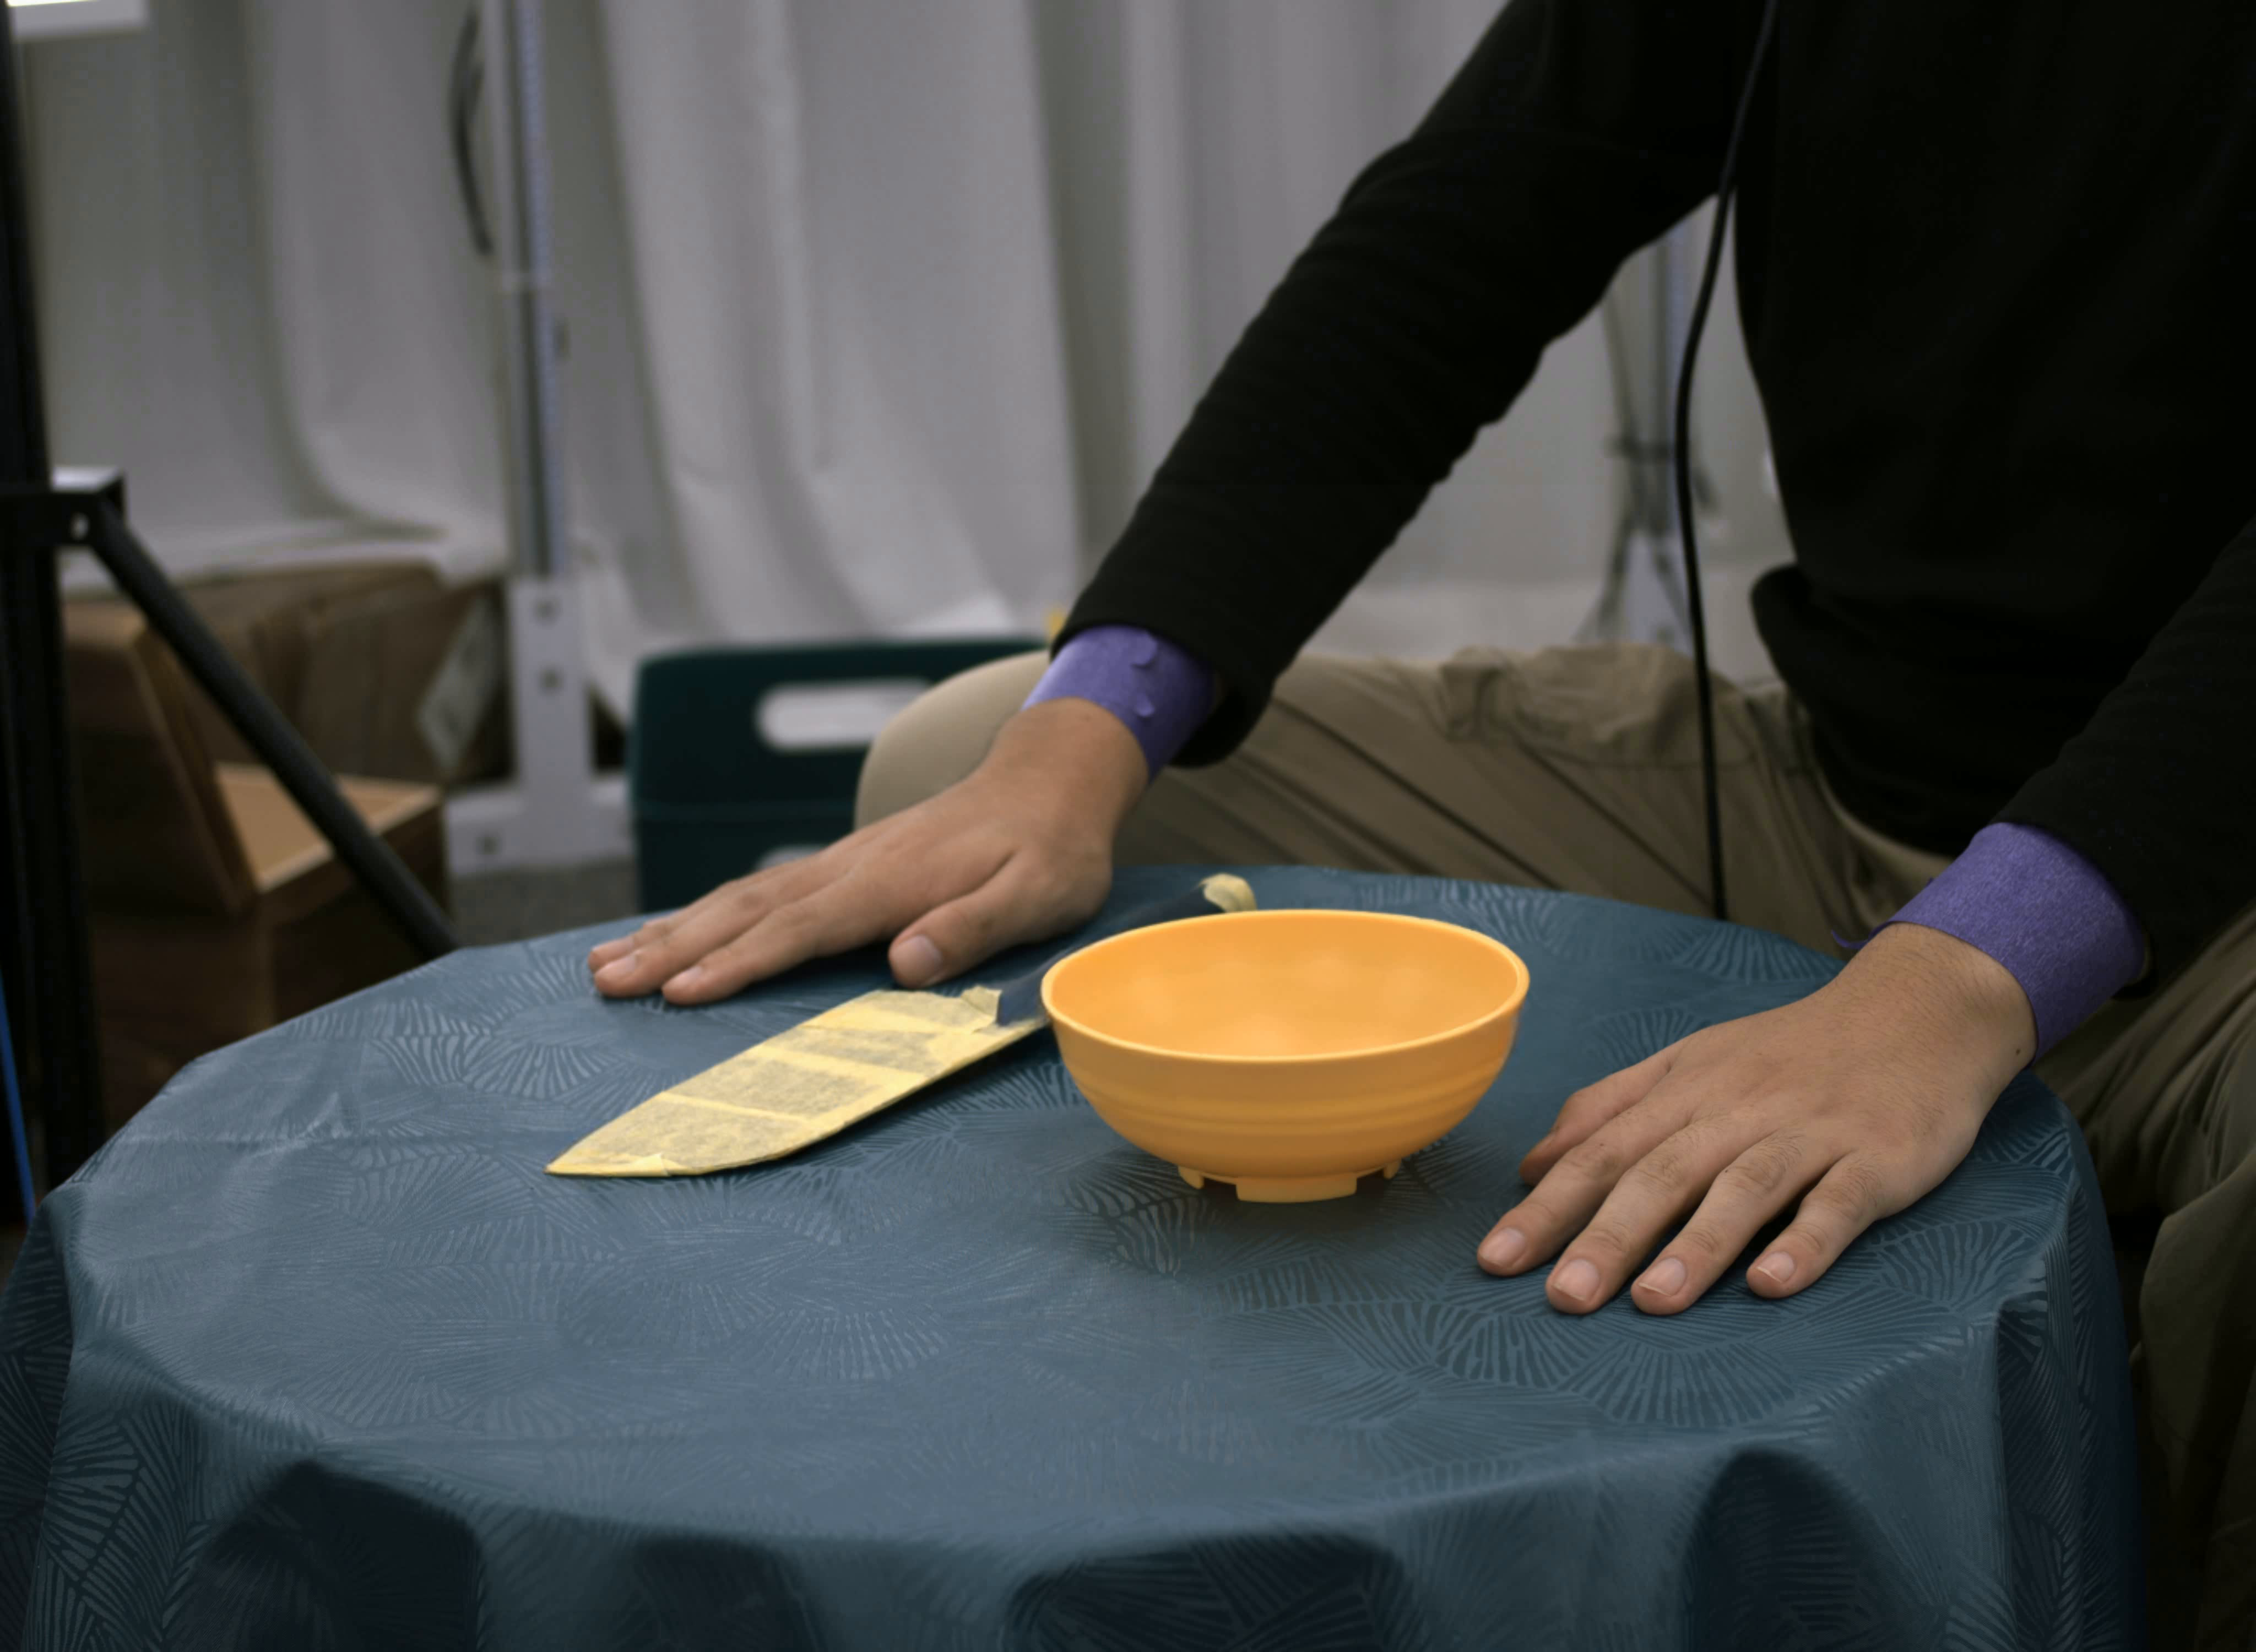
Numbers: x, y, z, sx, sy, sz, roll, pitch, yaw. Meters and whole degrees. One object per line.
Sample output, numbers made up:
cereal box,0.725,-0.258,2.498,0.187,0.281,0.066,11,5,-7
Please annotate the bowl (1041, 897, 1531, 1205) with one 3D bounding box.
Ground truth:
bowl,0.047,0.072,1.566,0.144,0.060,0.146,-1,18,-1

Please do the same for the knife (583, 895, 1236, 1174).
knife,-0.065,0.066,1.687,0.083,0.027,0.283,13,23,40
